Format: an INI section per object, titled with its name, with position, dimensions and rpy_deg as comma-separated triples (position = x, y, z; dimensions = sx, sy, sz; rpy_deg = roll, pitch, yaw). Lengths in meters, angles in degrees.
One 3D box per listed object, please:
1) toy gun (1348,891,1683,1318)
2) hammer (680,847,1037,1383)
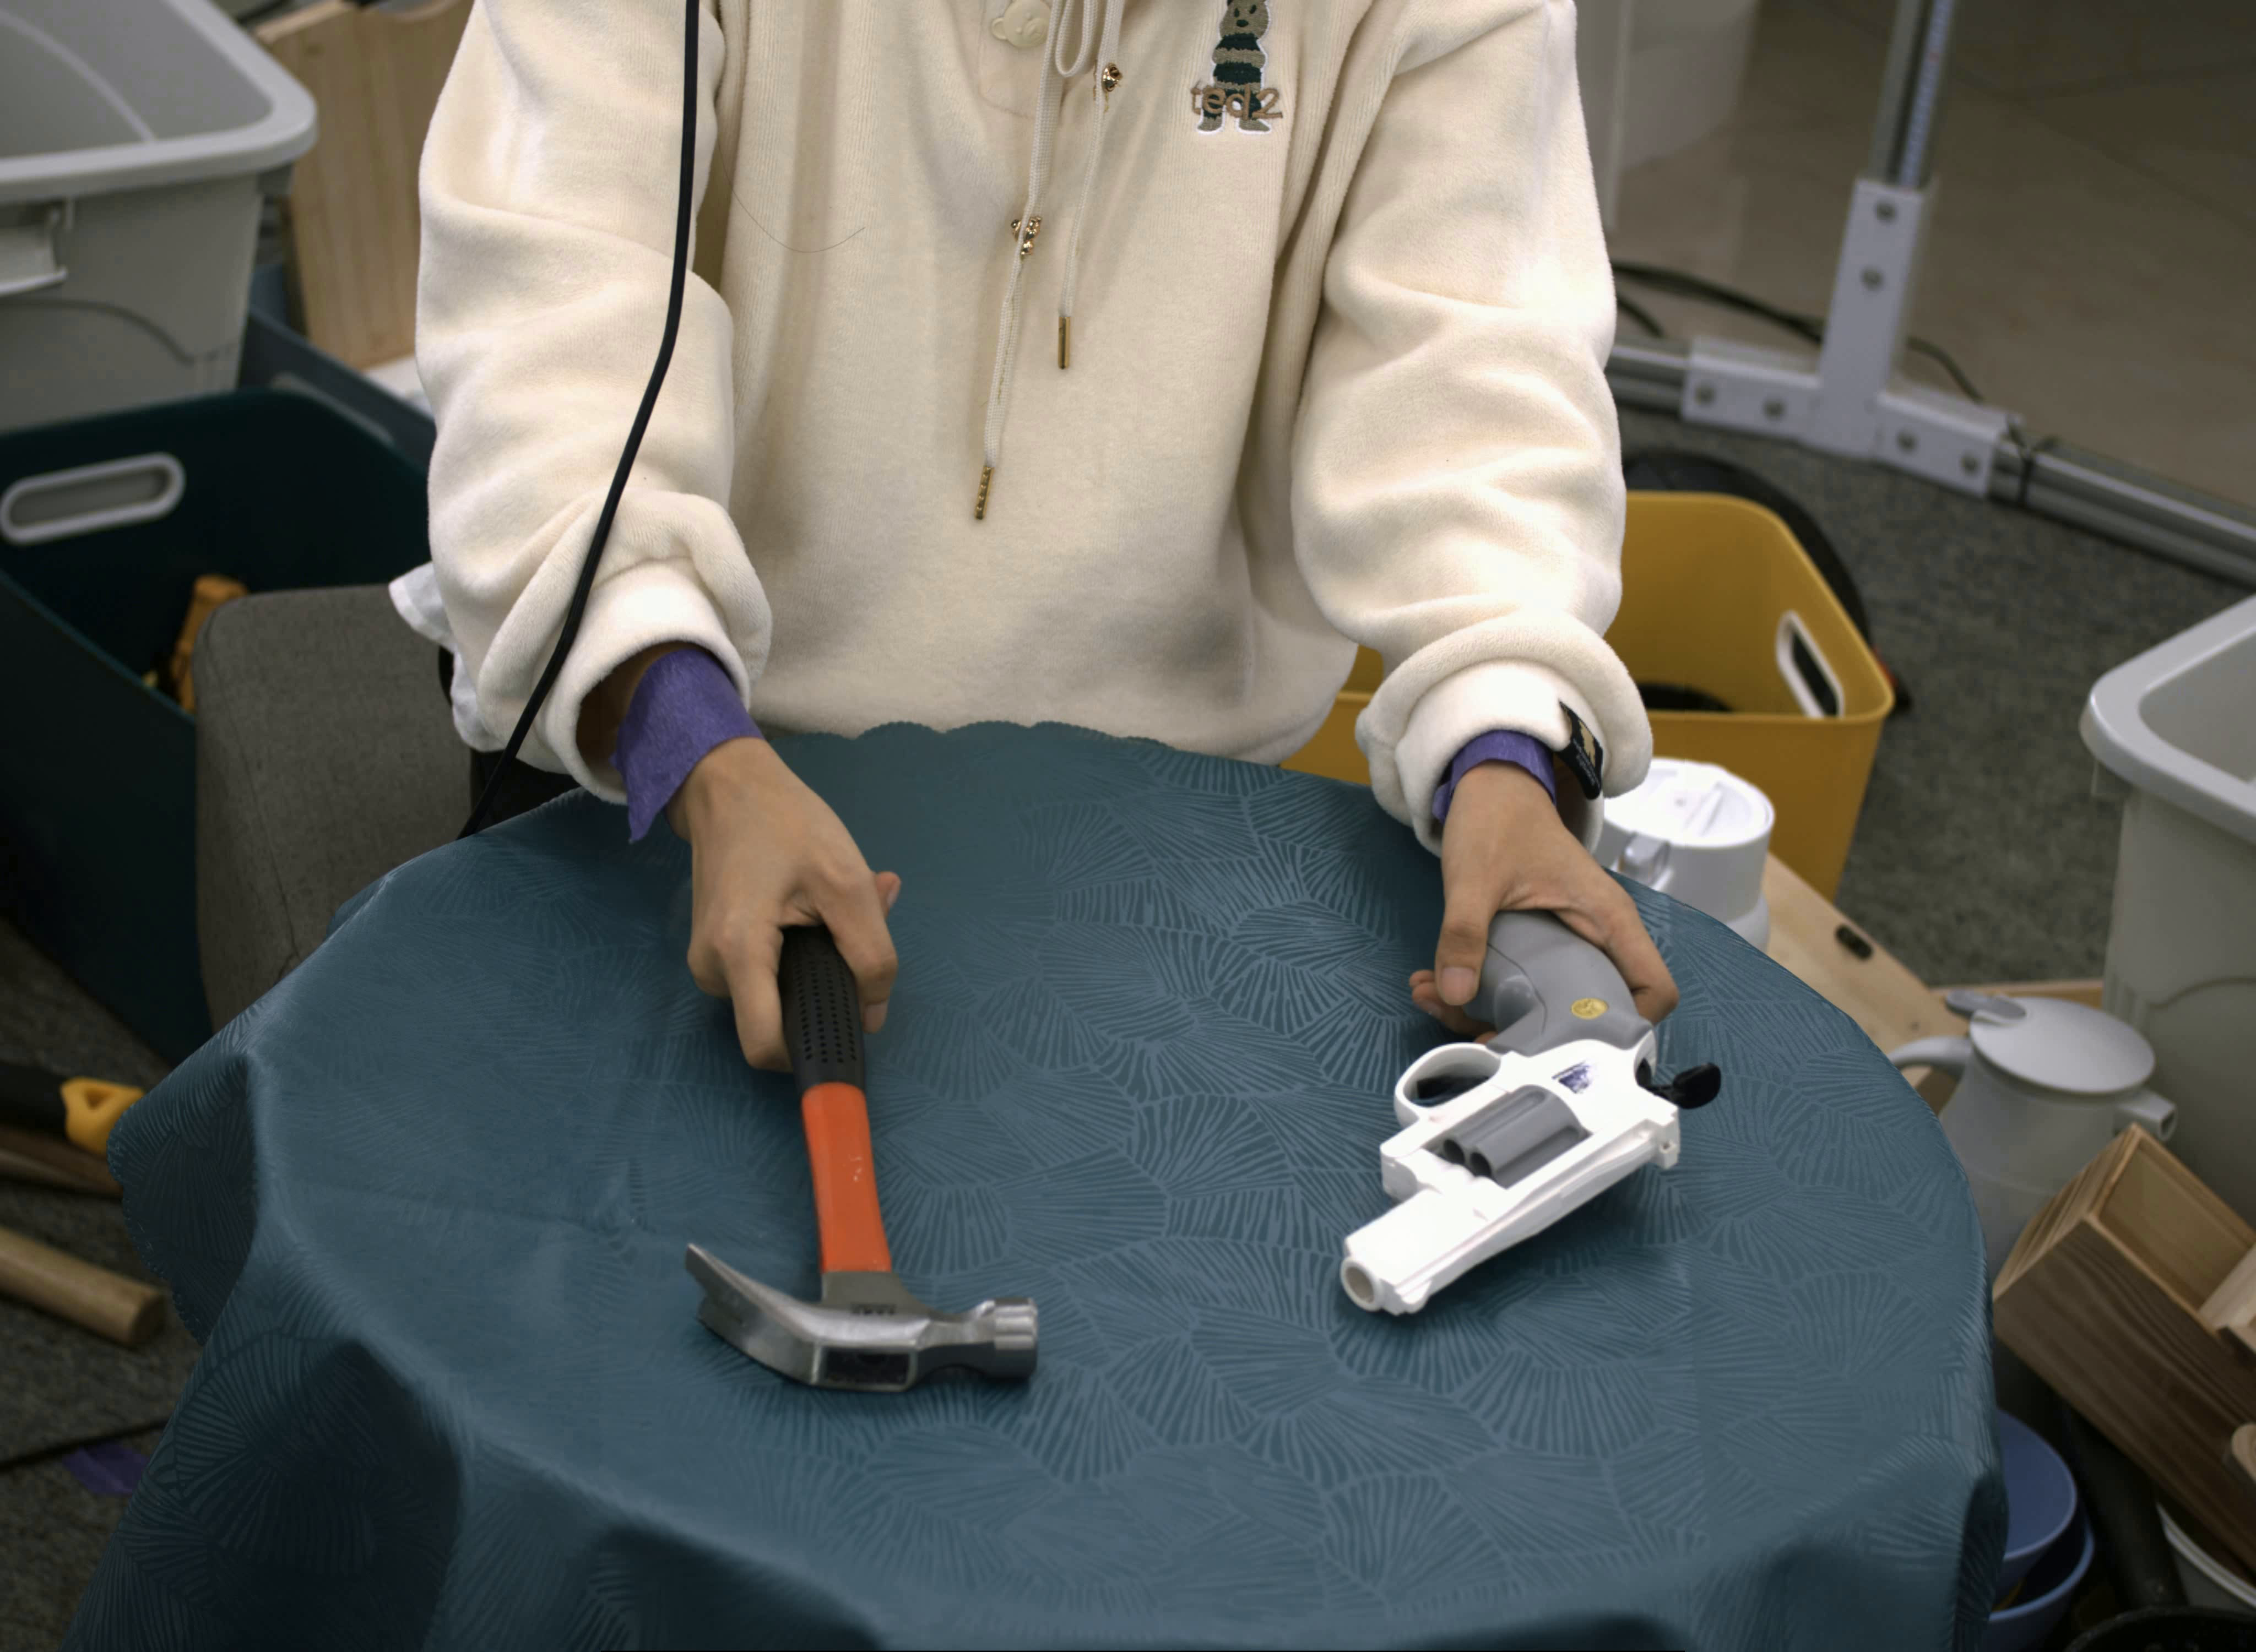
[toy gun]
position = 0.119, 0.094, 1.830
dimensions = 0.208, 0.038, 0.143
rpy_deg = -30, 39, -35
[hammer]
position = -0.100, 0.091, 1.782
dimensions = 0.110, 0.026, 0.279
rpy_deg = -6, 33, -5
